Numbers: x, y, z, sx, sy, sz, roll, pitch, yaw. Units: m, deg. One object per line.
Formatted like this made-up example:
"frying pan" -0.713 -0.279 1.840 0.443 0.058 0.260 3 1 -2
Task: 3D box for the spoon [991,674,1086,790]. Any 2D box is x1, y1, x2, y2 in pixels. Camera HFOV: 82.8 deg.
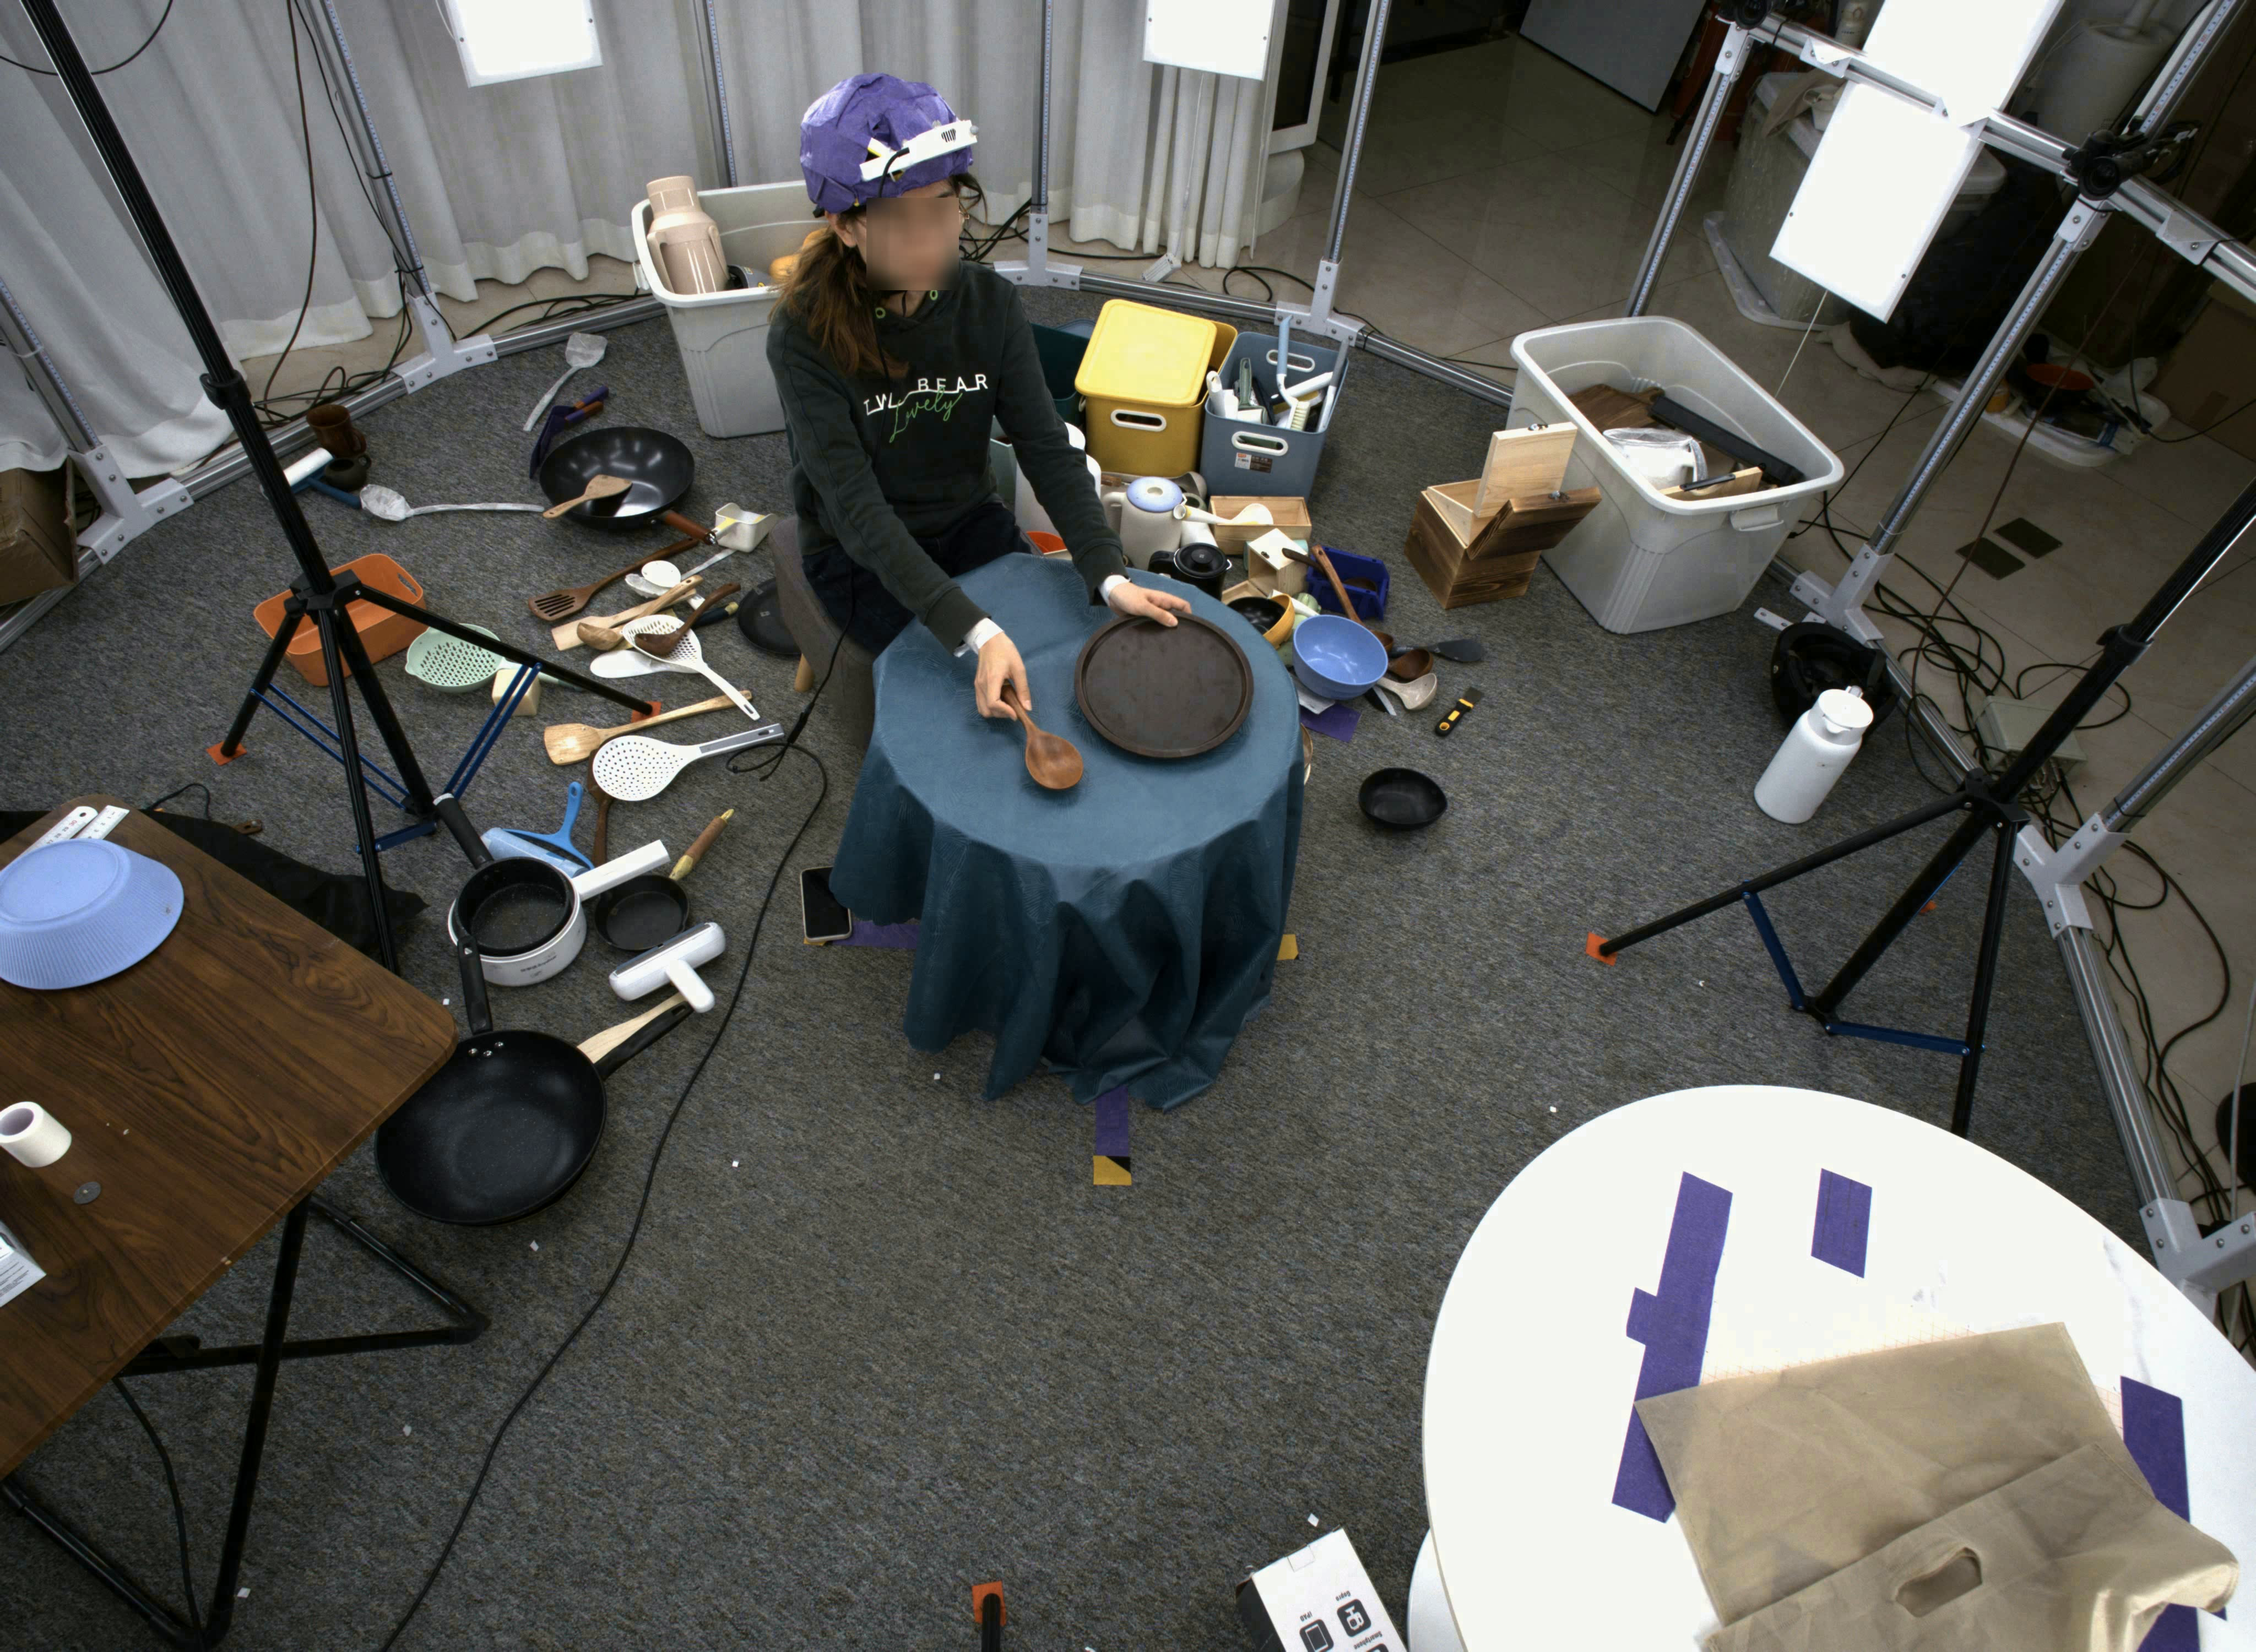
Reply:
"spoon" -0.129 -0.130 1.748 0.076 0.017 0.220 -26 61 -15

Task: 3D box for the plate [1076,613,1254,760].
"plate" 0.052 -0.199 1.816 0.254 0.028 0.260 2 59 -3
